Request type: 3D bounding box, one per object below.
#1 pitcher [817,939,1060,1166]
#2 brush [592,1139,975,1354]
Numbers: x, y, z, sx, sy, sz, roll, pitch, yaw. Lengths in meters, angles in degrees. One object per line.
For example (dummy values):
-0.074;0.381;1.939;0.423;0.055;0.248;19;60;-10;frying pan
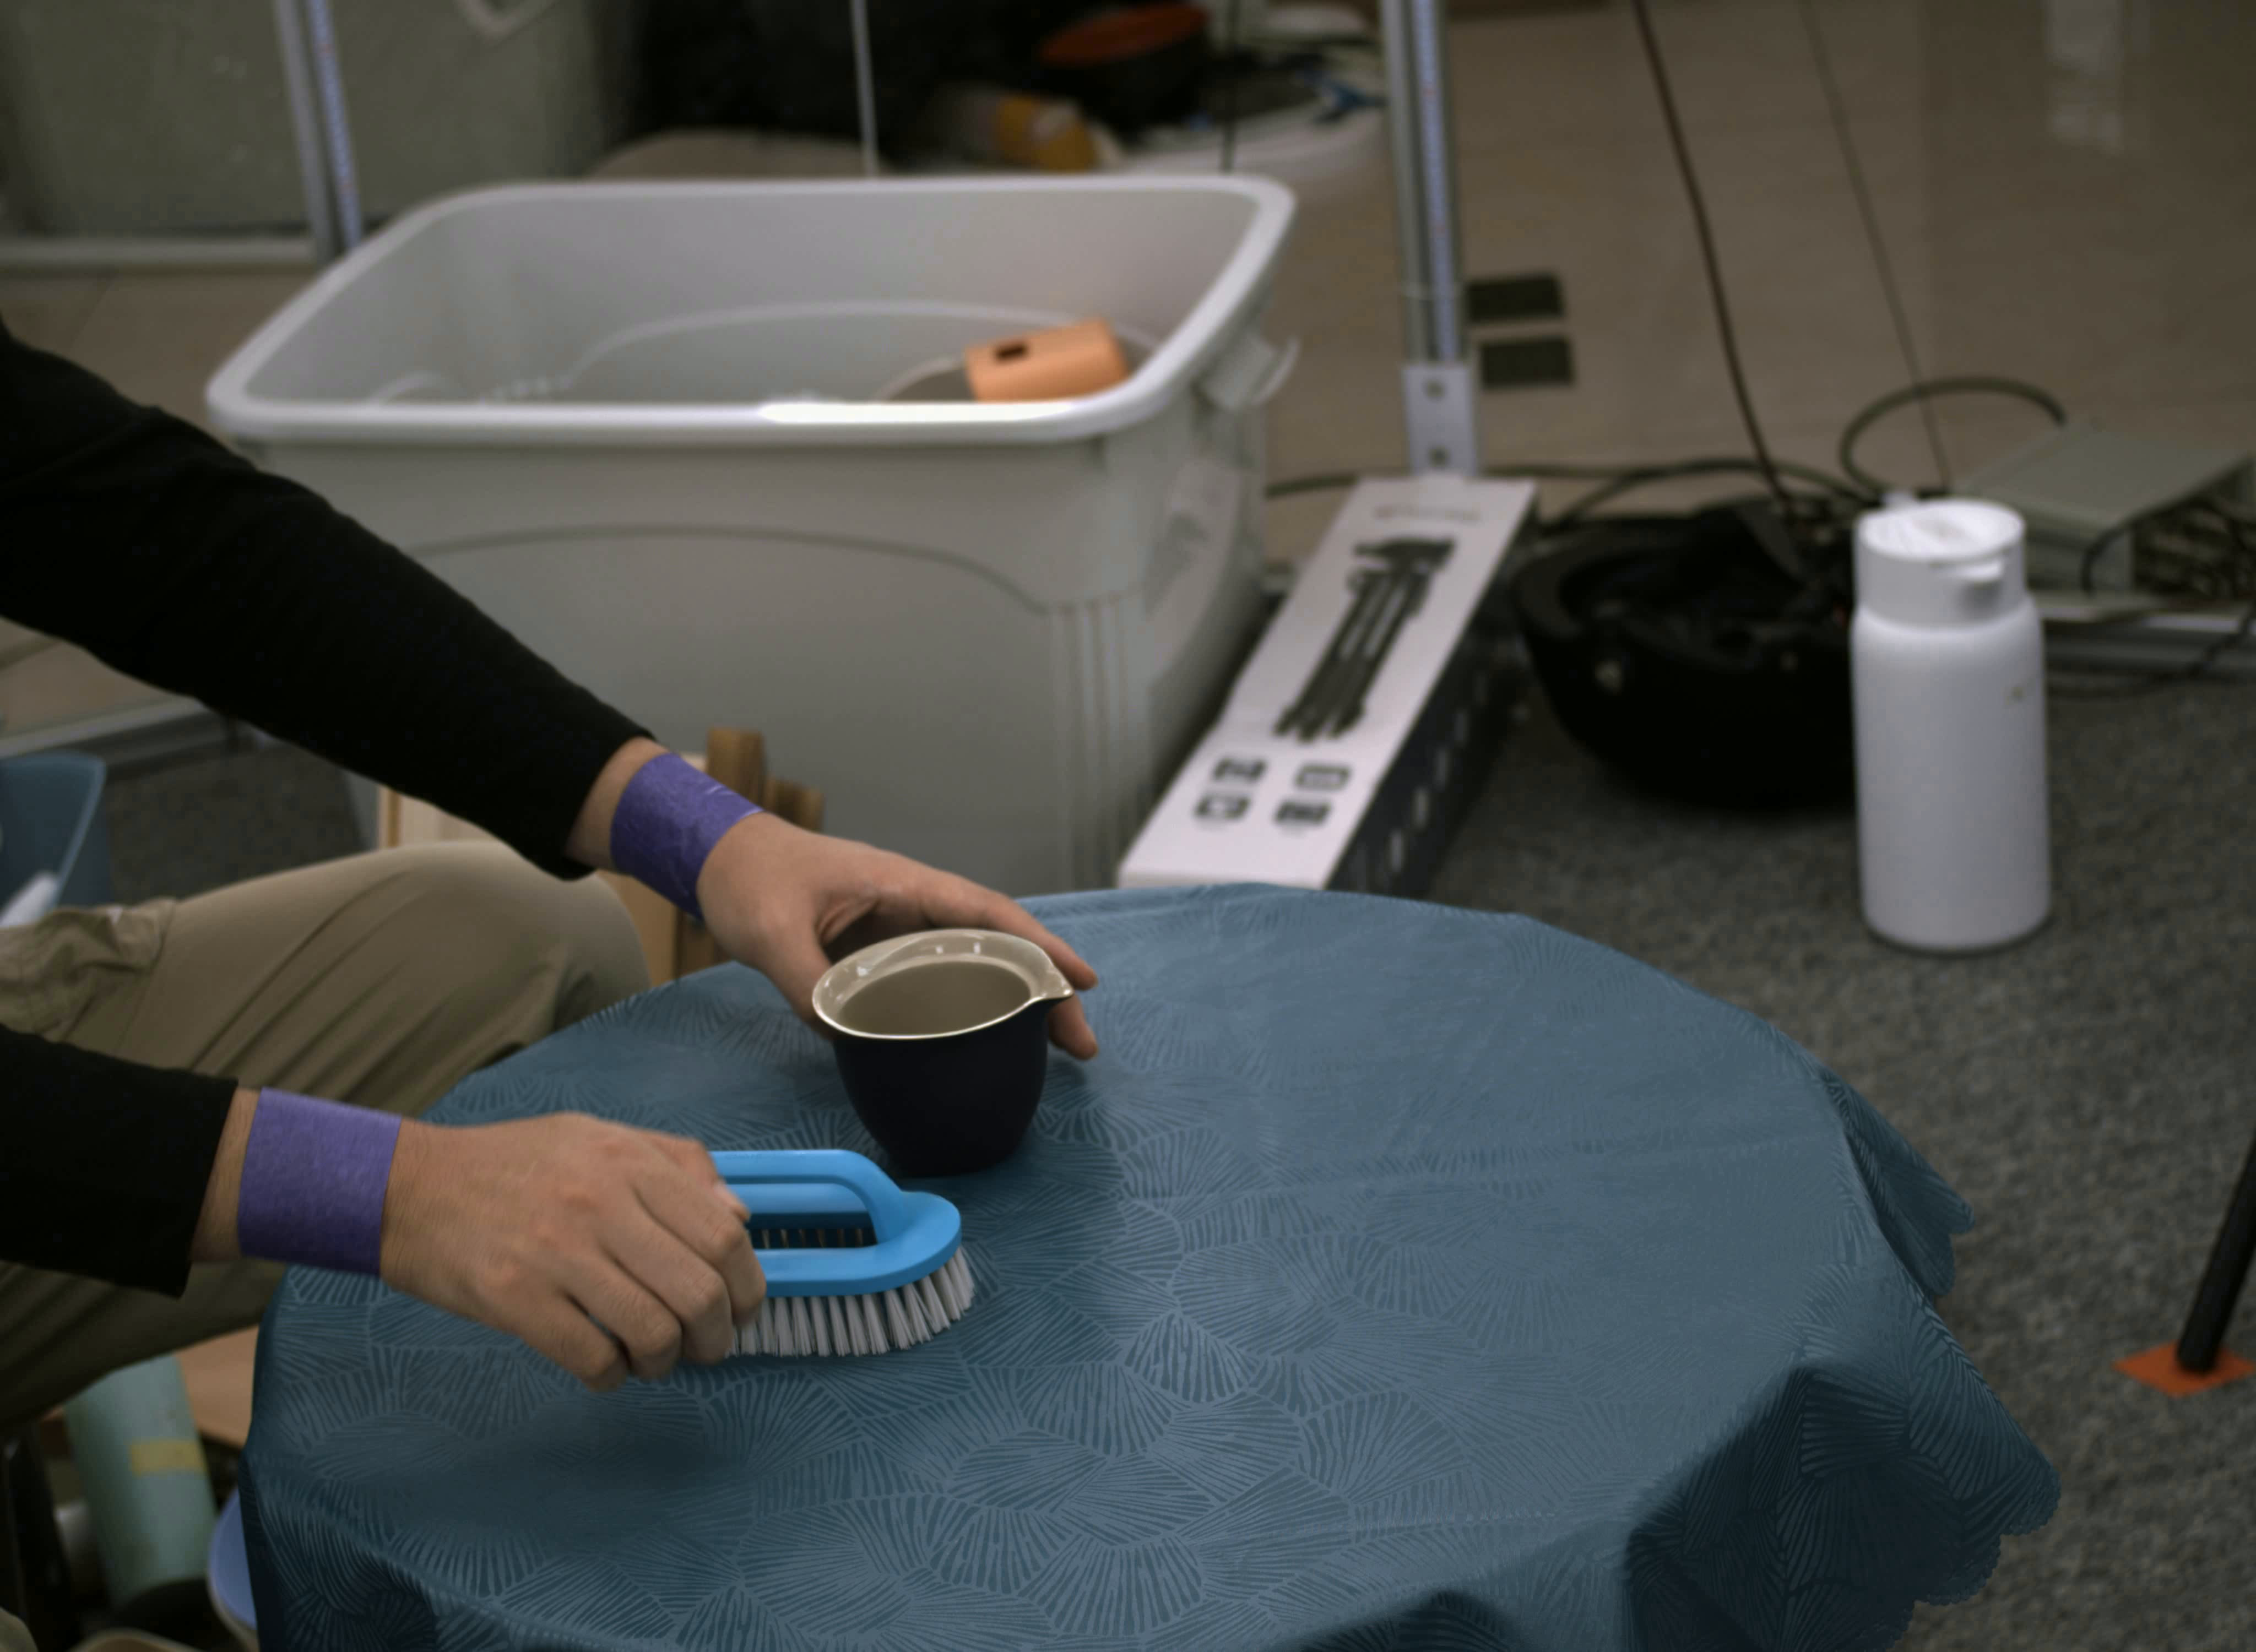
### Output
-0.070;0.089;2.181;0.095;0.072;0.082;5;27;19;pitcher
-0.130;0.146;2.084;0.141;0.065;0.083;-2;30;13;brush
